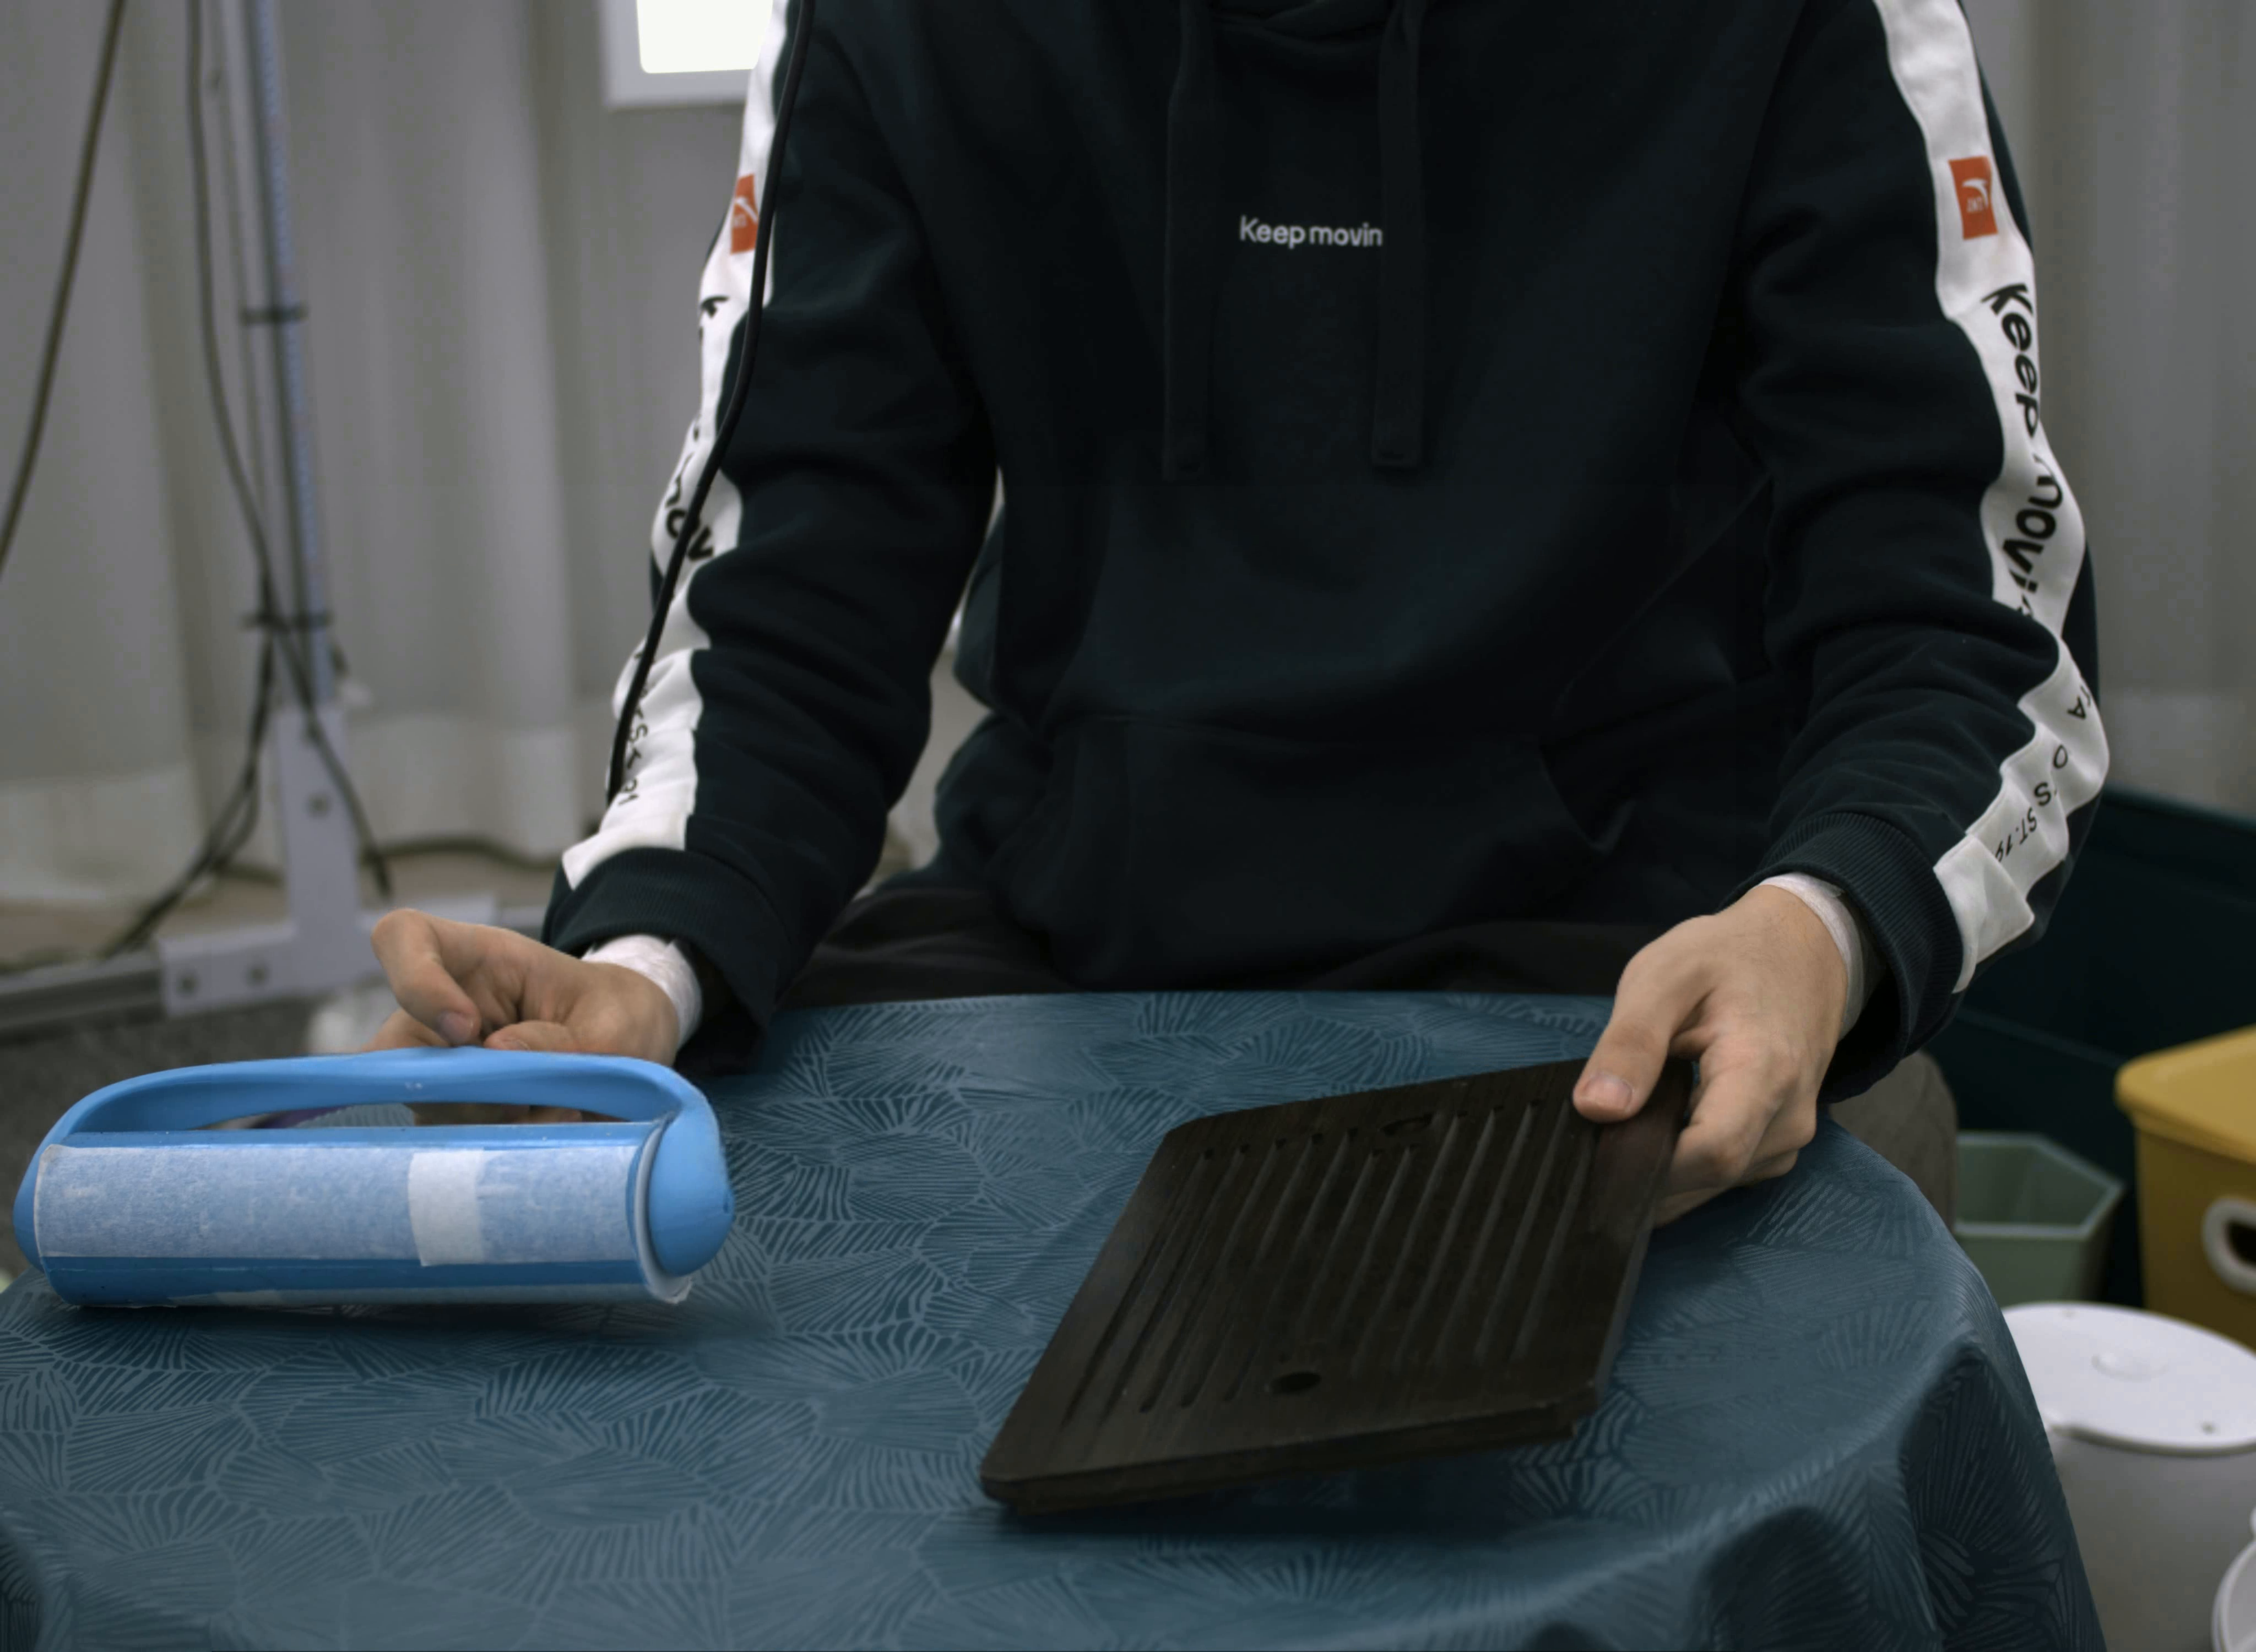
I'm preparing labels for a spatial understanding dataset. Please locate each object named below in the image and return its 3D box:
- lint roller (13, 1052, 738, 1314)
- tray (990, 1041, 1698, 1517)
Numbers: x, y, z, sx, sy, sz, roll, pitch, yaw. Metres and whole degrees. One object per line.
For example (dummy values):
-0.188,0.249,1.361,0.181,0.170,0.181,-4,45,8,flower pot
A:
-0.213,0.100,1.688,0.228,0.068,0.181,-5,14,14,lint roller
0.071,0.127,1.567,0.170,0.018,0.307,-10,13,13,tray
